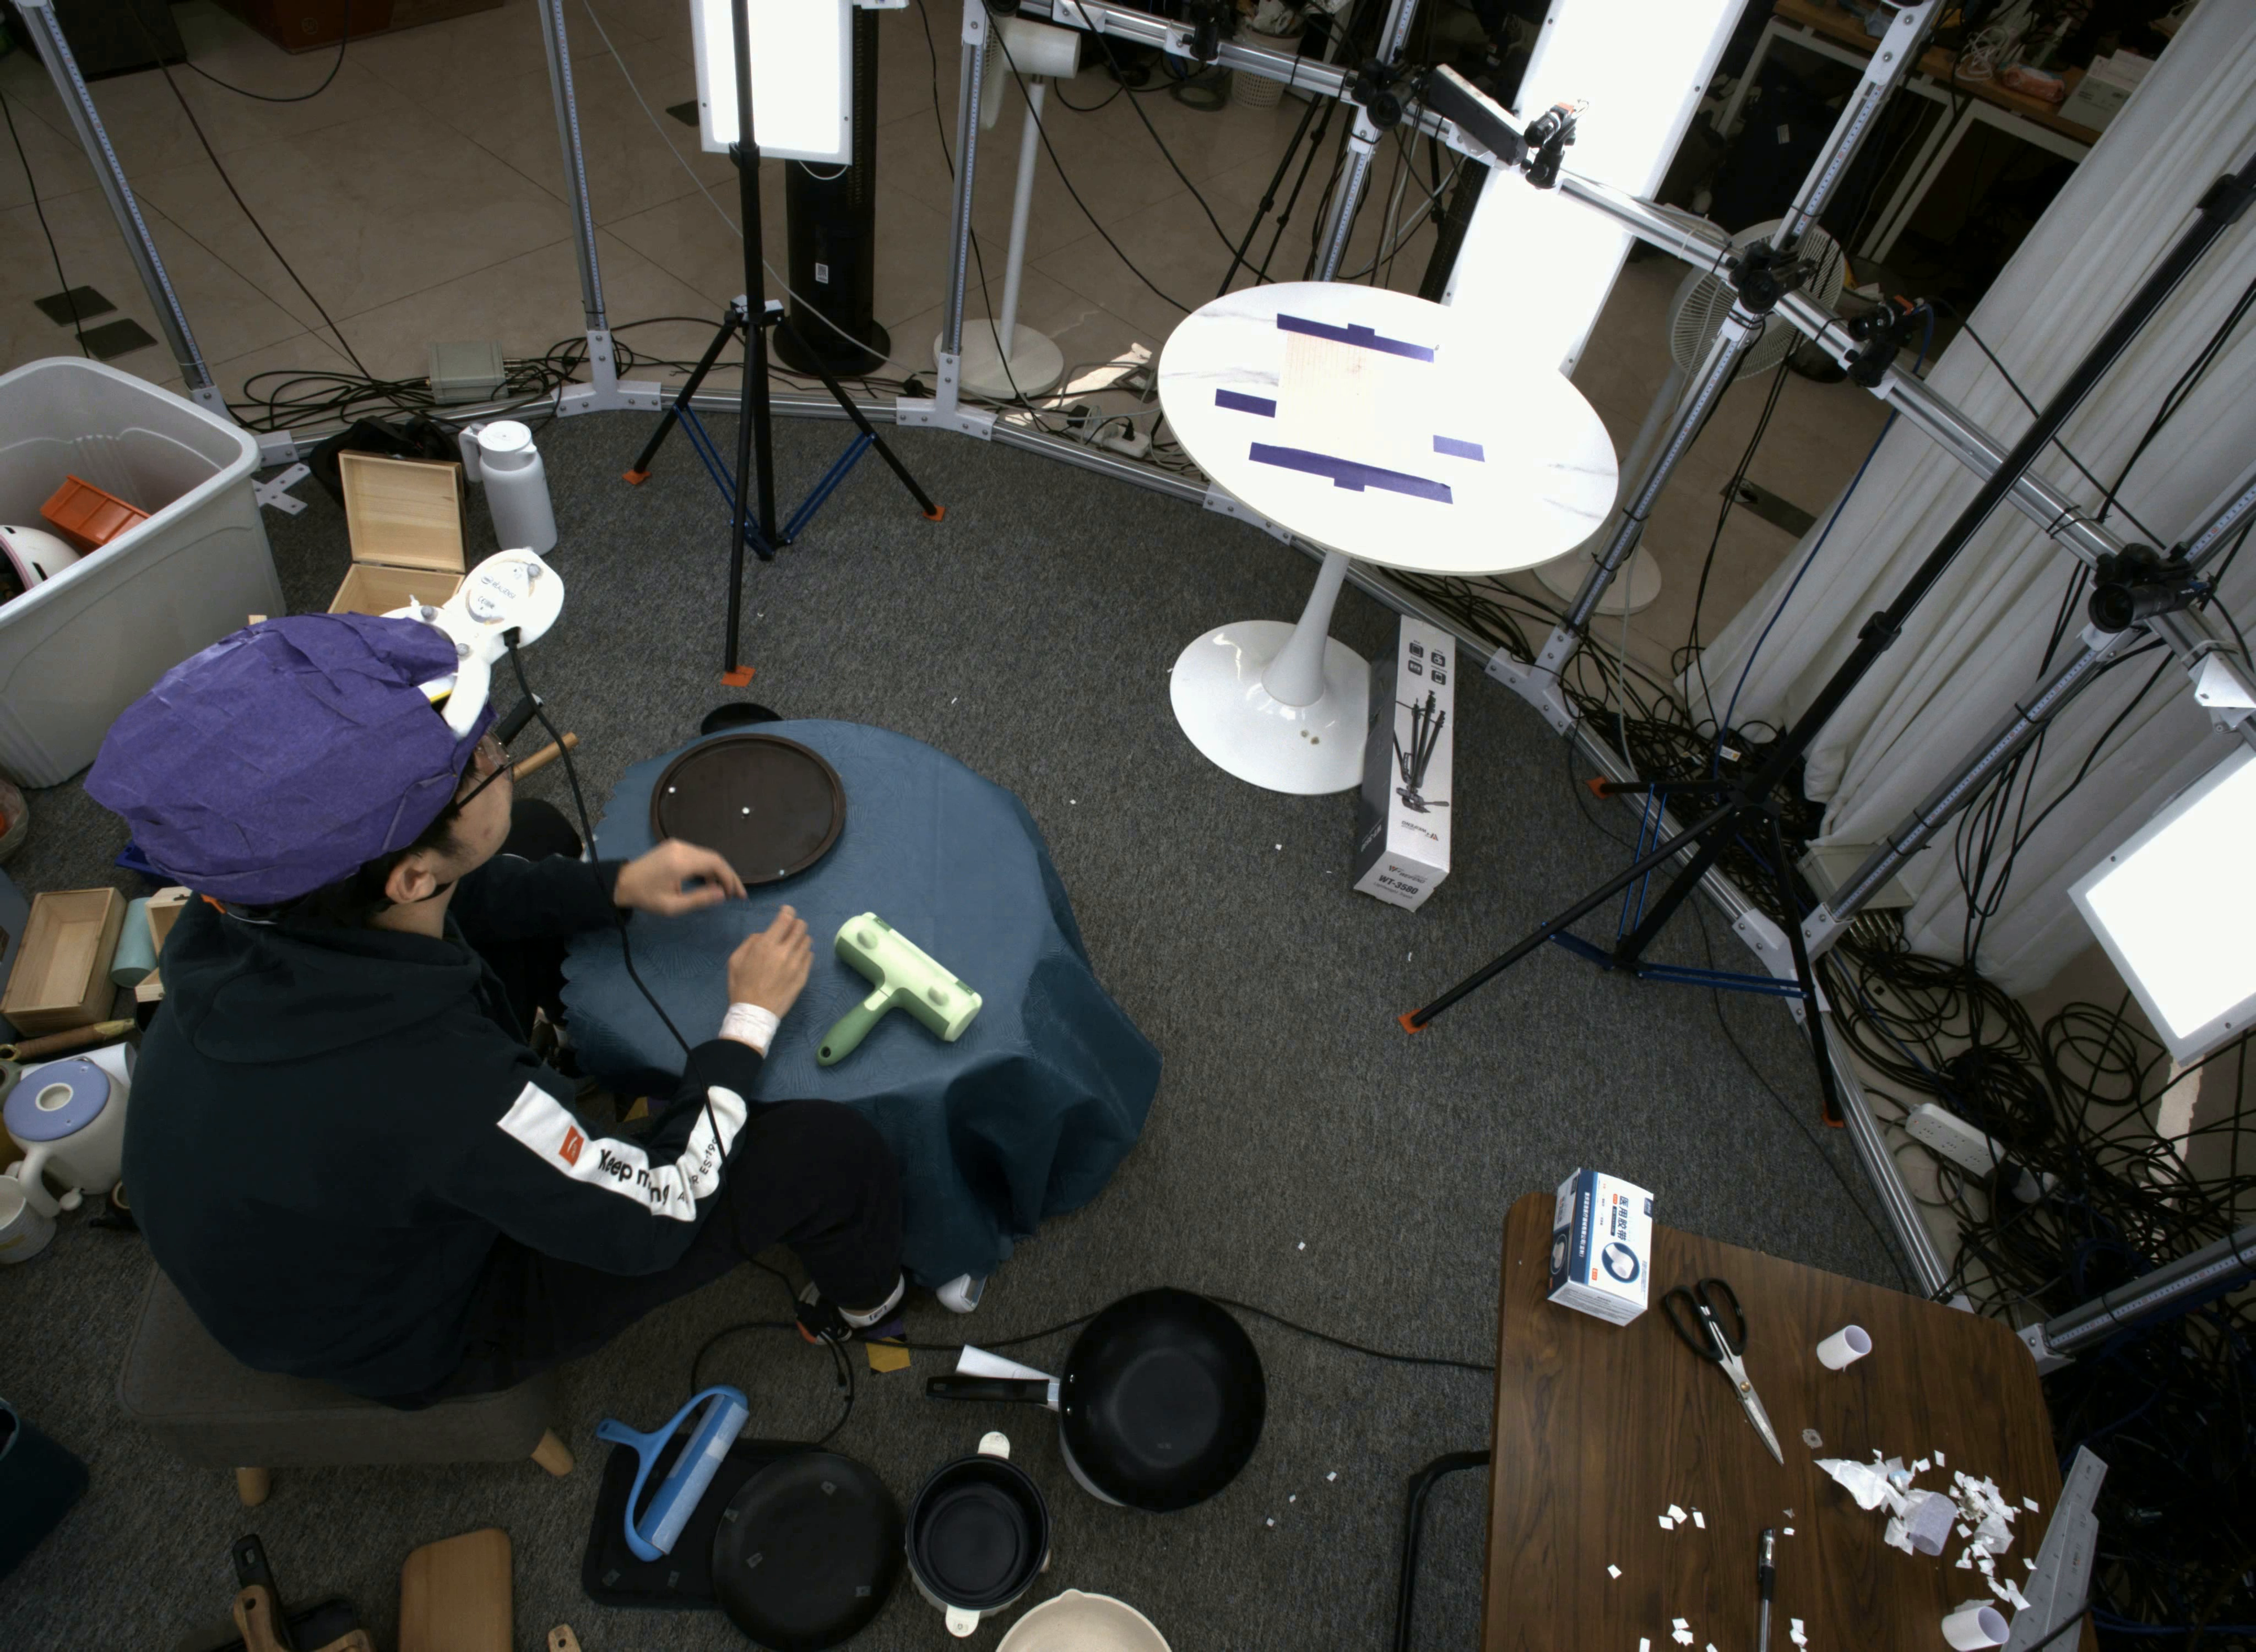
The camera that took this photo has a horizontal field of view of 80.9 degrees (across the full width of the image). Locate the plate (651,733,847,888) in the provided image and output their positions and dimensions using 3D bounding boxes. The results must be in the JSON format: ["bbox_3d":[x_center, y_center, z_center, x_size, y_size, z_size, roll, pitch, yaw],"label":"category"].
[{"bbox_3d":[-0.500,-0.023,1.711,0.254,0.029,0.250,8,54,-10],"label":"plate"}]

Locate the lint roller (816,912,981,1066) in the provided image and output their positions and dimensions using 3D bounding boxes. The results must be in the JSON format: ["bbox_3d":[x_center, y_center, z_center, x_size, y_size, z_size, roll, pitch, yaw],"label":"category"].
[{"bbox_3d":[-0.305,0.207,1.557,0.195,0.084,0.183,36,50,13],"label":"lint roller"}]
